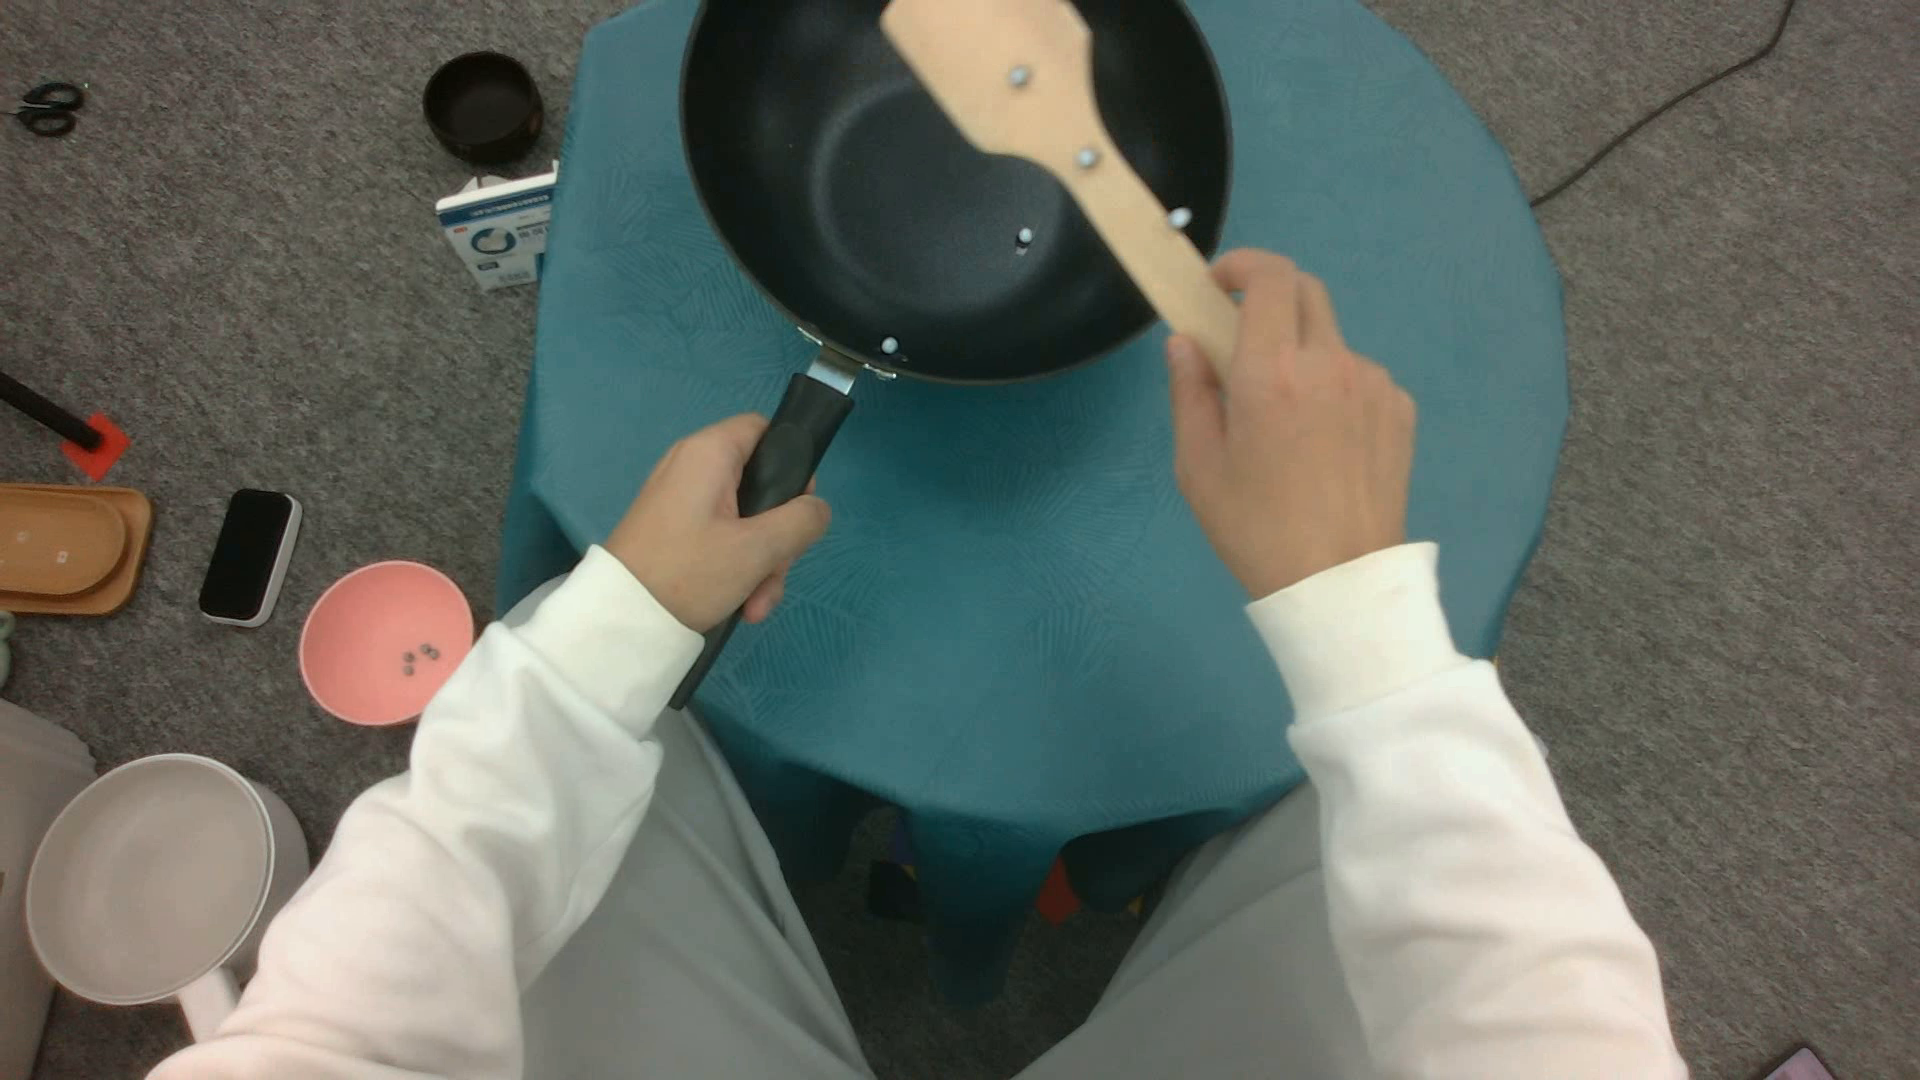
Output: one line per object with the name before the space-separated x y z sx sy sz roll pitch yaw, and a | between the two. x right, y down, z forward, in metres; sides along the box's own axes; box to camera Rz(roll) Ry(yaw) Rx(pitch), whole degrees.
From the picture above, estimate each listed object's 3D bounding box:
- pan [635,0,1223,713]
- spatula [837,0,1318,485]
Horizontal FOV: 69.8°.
pan | -0.042 -0.117 0.725 0.288 0.086 0.464 24 75 0
spatula | 0.053 -0.137 0.615 0.293 0.011 0.072 49 120 13
